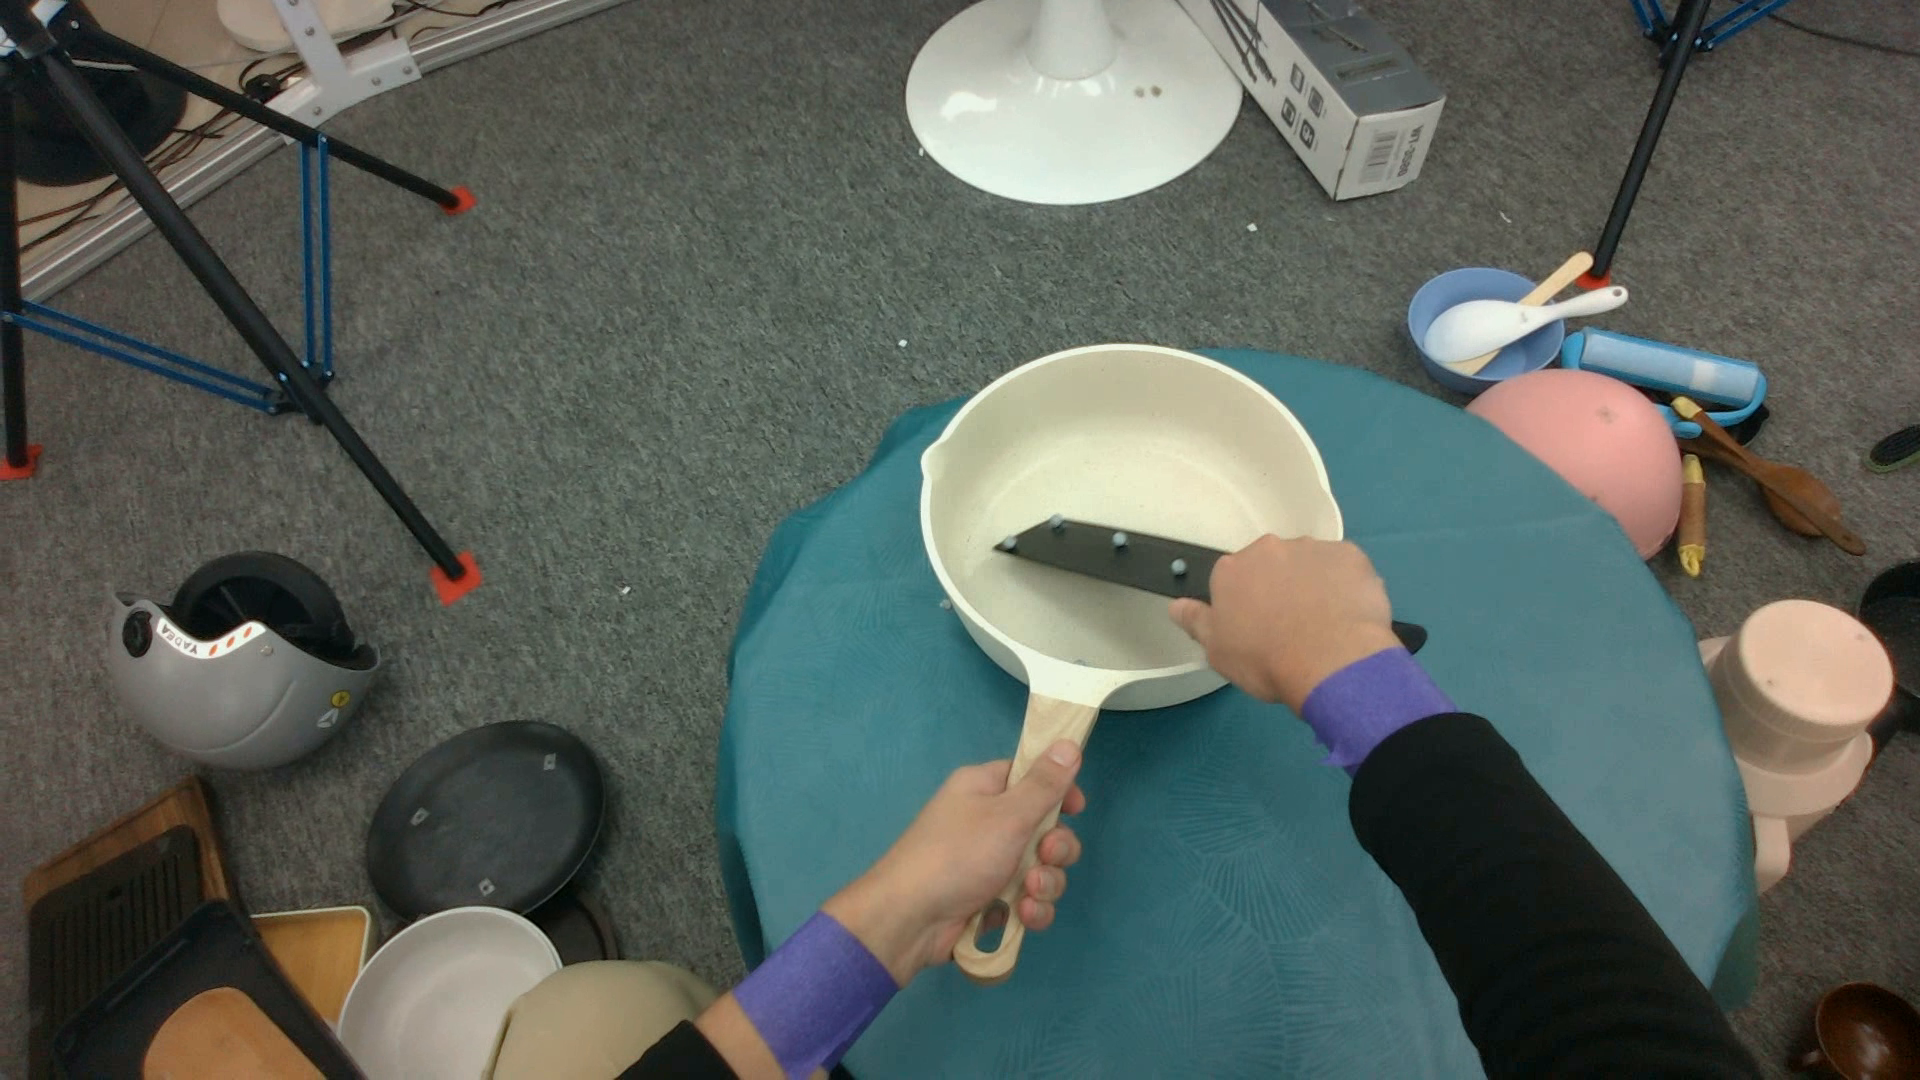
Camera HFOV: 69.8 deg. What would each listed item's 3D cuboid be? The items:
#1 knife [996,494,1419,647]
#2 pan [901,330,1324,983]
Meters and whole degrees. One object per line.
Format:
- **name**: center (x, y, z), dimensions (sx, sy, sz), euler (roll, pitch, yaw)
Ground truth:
- **knife**: center (0.136, 0.010, 0.806), dimensions (0.081, 0.021, 0.302), euler (-24, 26, -28)
- **pan**: center (0.067, 0.059, 0.823), dimensions (0.263, 0.101, 0.437), euler (12, 58, 10)
